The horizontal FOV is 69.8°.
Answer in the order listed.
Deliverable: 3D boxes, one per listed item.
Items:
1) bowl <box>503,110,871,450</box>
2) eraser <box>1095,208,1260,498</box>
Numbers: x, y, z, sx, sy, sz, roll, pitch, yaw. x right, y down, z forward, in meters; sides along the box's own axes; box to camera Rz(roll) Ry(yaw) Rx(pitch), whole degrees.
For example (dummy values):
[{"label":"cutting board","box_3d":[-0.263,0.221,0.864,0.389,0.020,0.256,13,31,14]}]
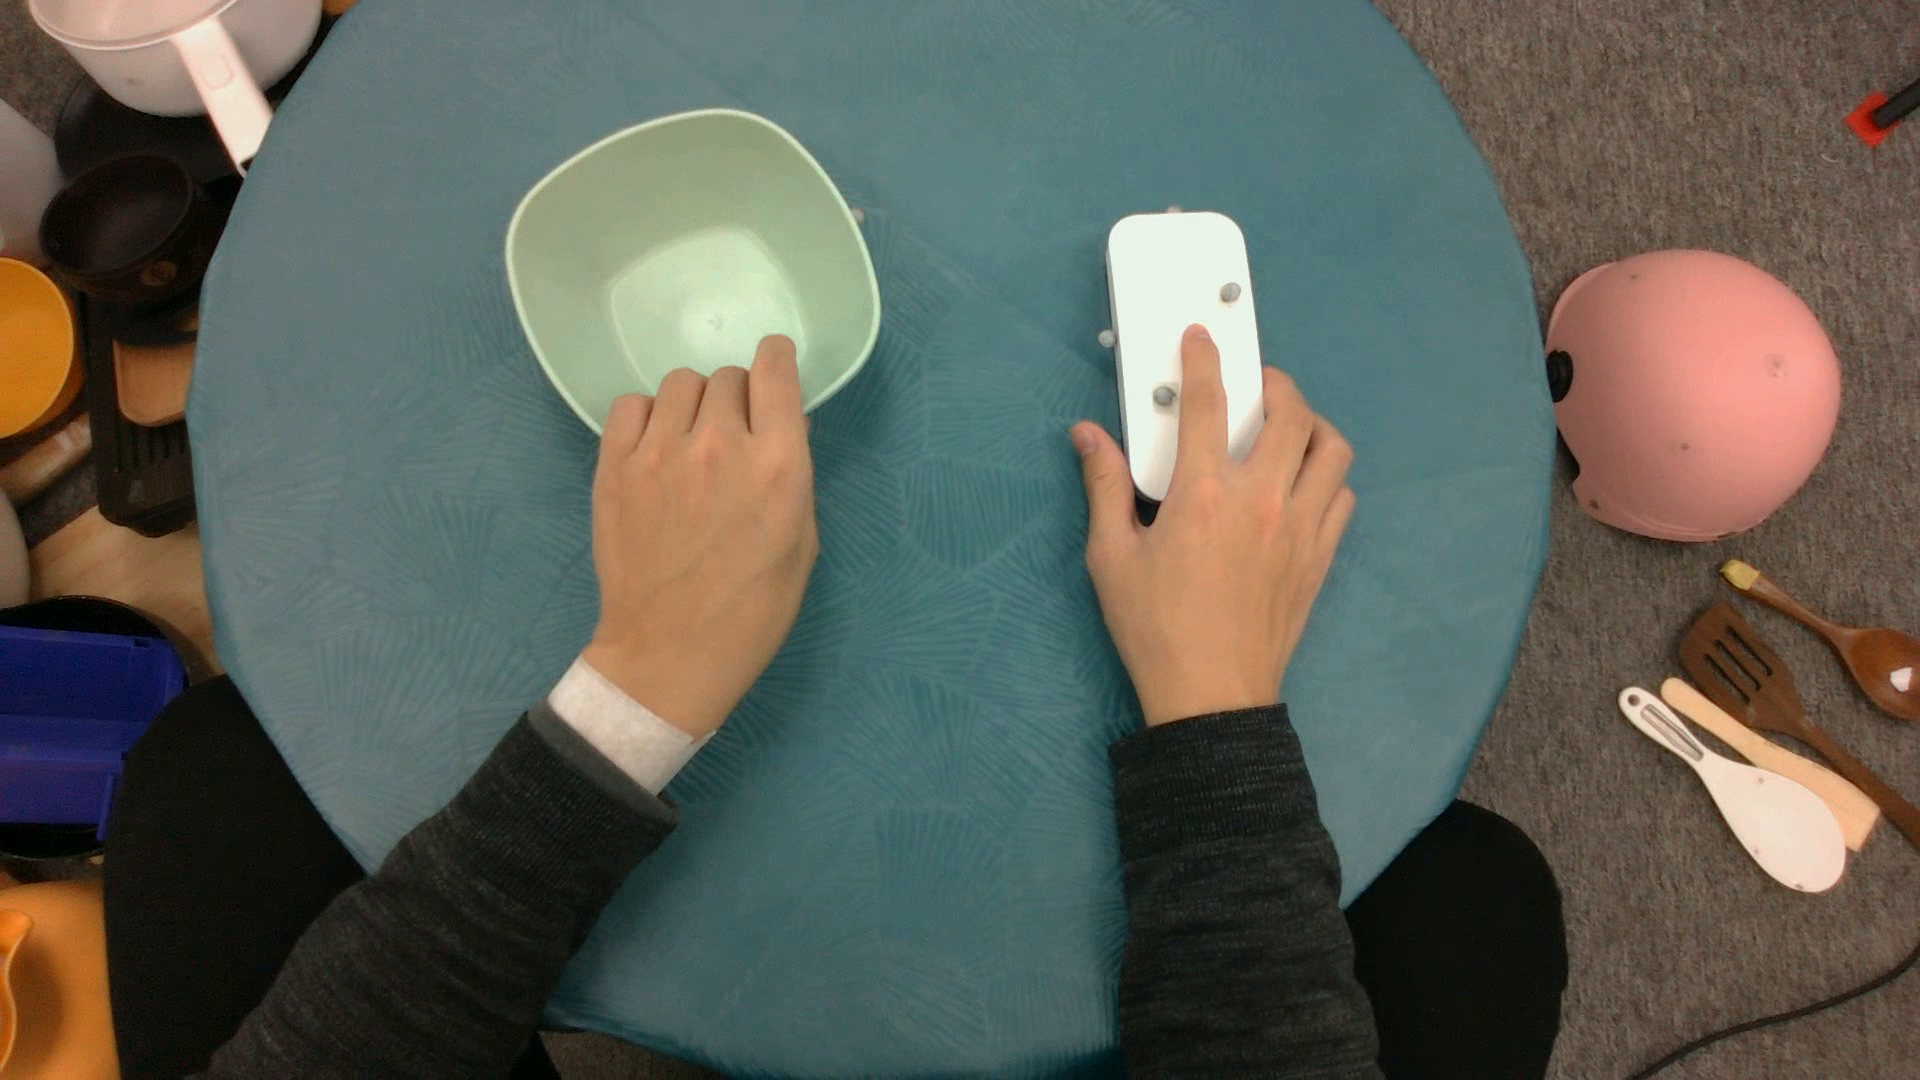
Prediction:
[{"label":"bowl","box_3d":[-0.112,-0.102,0.582,0.151,0.058,0.152,1,77,-5]},{"label":"eraser","box_3d":[0.093,-0.083,0.609,0.063,0.034,0.131,-3,77,-4]}]
